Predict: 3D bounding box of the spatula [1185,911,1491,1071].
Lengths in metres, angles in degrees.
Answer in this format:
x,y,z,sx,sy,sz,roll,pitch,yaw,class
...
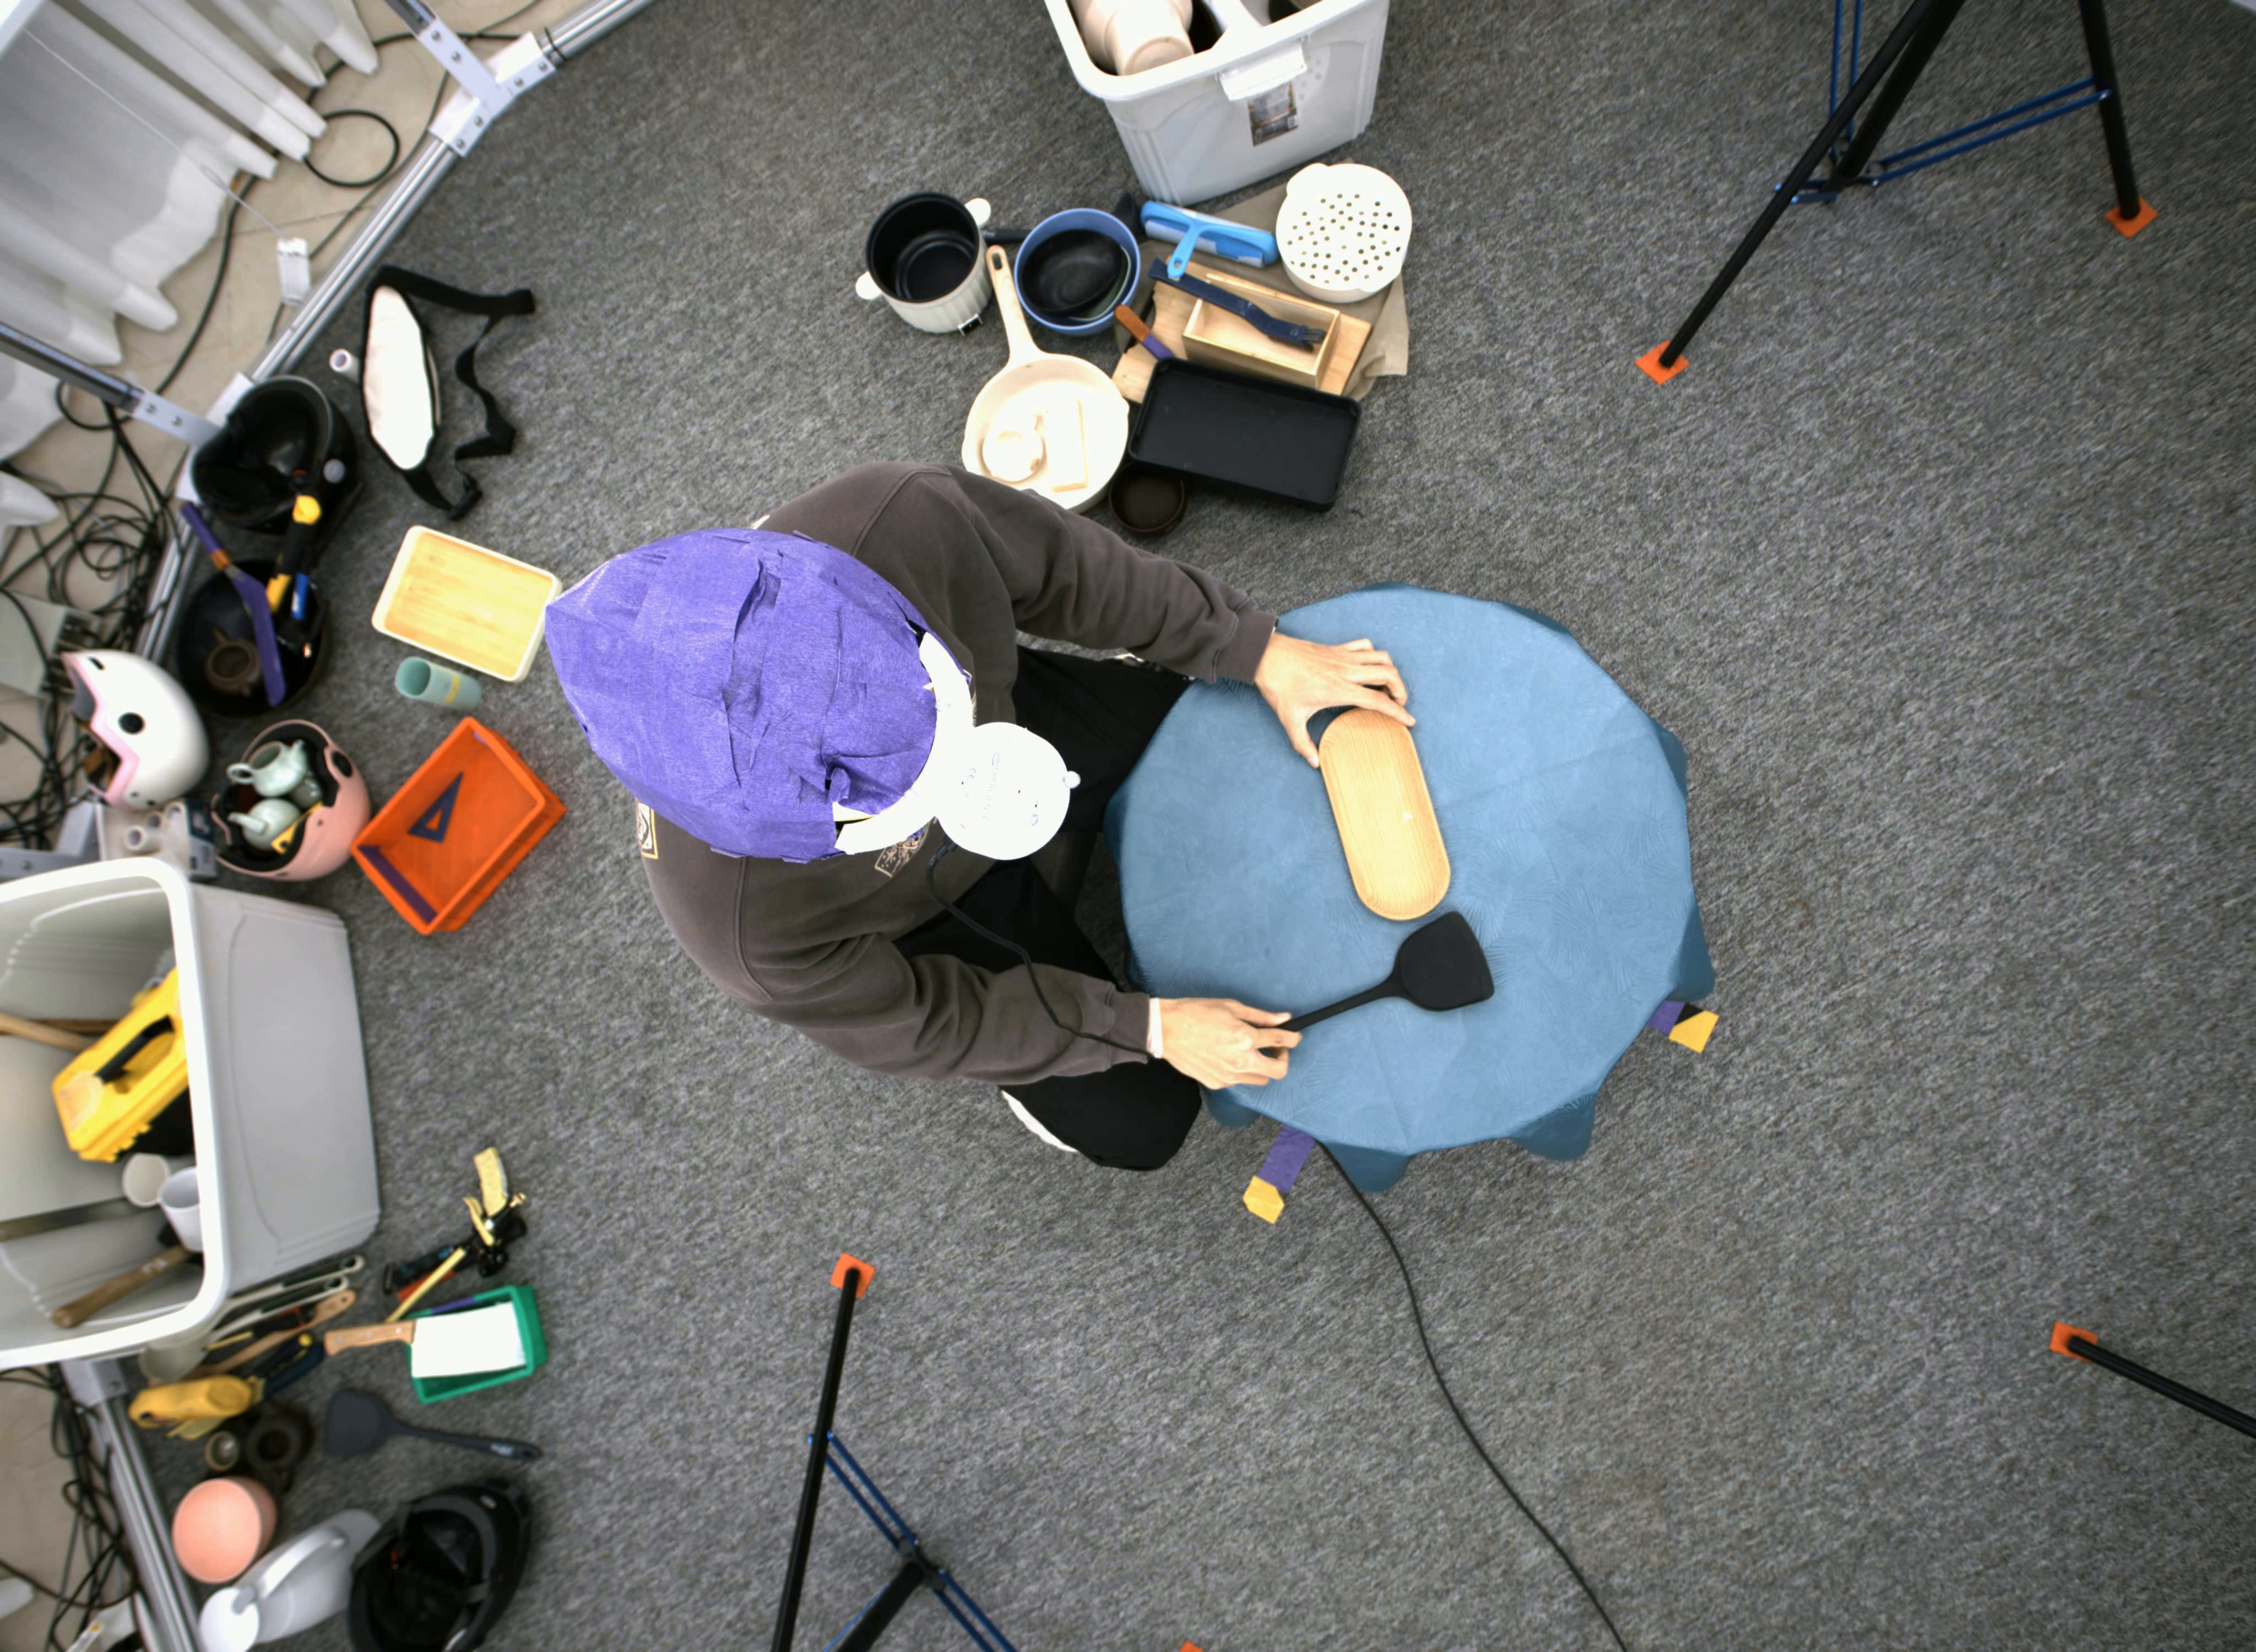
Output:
x,y,z,sx,sy,sz,roll,pitch,yaw,class
0.210,0.189,1.435,0.327,0.040,0.099,-22,78,2,spatula

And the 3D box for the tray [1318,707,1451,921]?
x,y,z,sx,sy,sz,roll,pitch,yaw,class
0.270,-0.014,1.453,0.102,0.020,0.230,-16,86,10,tray
